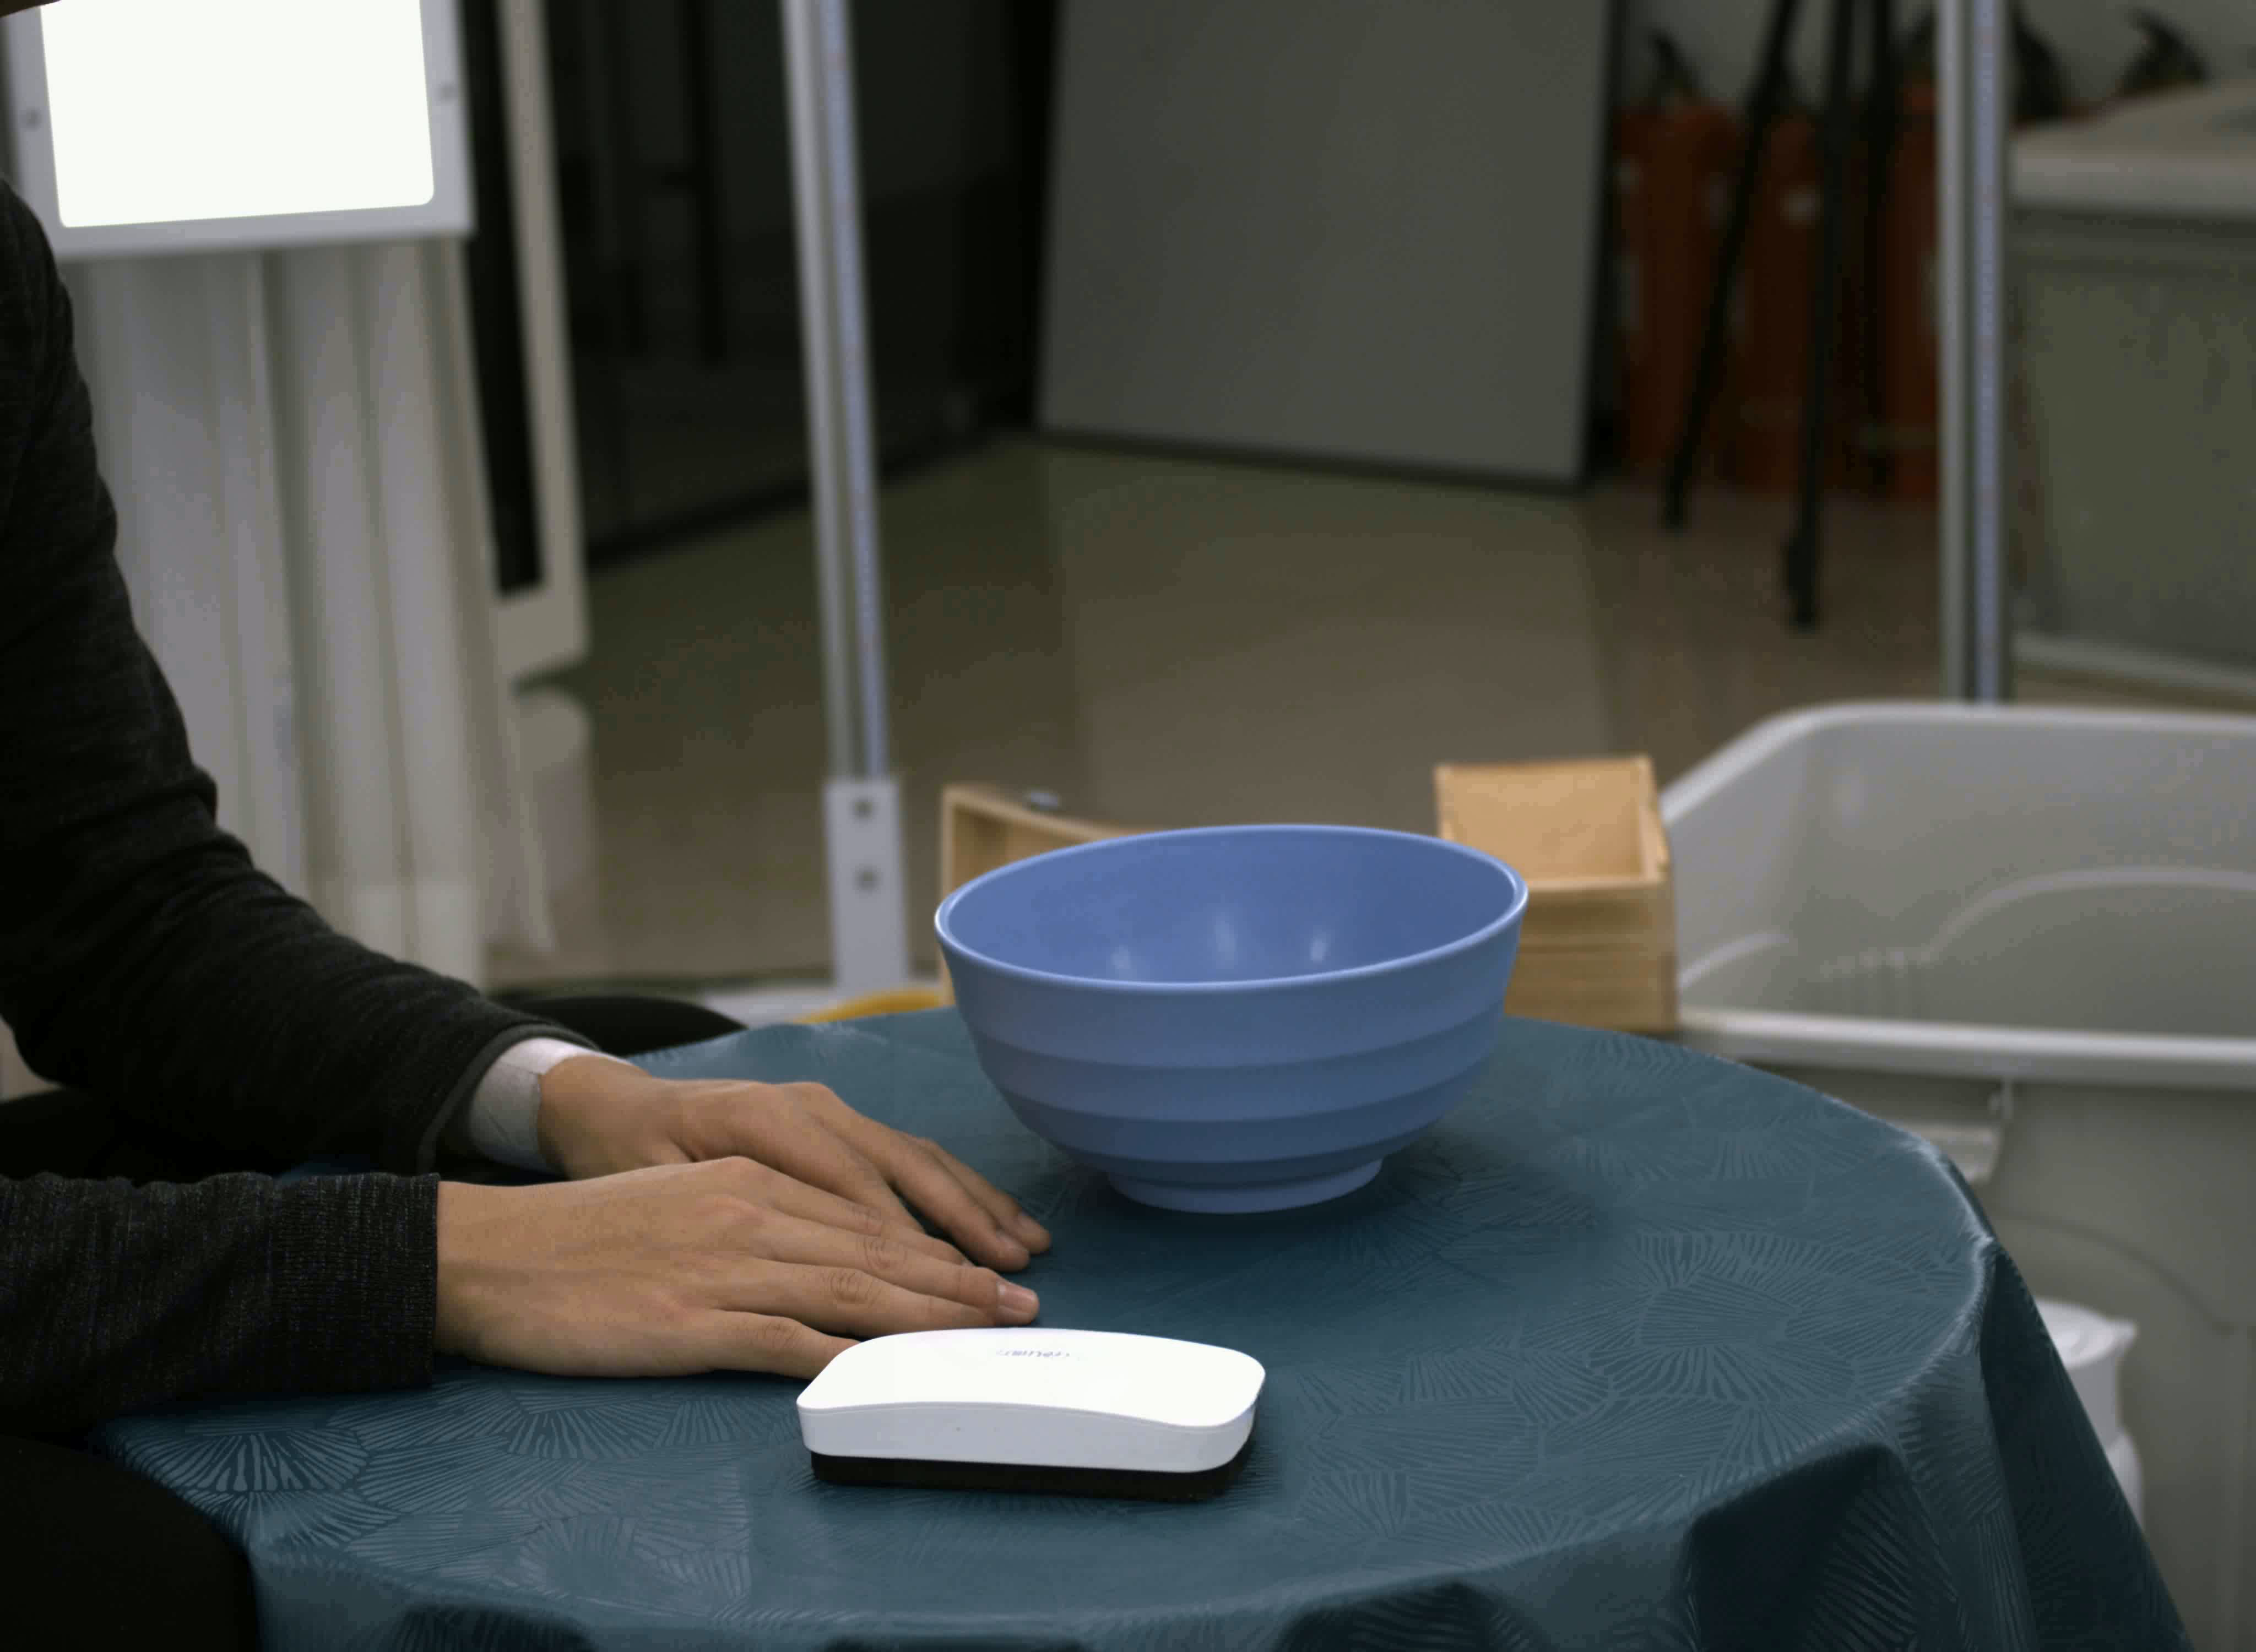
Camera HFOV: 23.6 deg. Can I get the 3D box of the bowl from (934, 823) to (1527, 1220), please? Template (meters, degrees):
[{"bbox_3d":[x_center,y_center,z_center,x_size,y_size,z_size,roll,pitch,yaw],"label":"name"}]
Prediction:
[{"bbox_3d":[0.036,0.070,1.771,0.194,0.096,0.197,-3,14,0],"label":"bowl"}]

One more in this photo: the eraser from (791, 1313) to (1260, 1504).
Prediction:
[{"bbox_3d":[-0.028,0.166,1.532,0.131,0.035,0.063,1,14,18],"label":"eraser"}]
